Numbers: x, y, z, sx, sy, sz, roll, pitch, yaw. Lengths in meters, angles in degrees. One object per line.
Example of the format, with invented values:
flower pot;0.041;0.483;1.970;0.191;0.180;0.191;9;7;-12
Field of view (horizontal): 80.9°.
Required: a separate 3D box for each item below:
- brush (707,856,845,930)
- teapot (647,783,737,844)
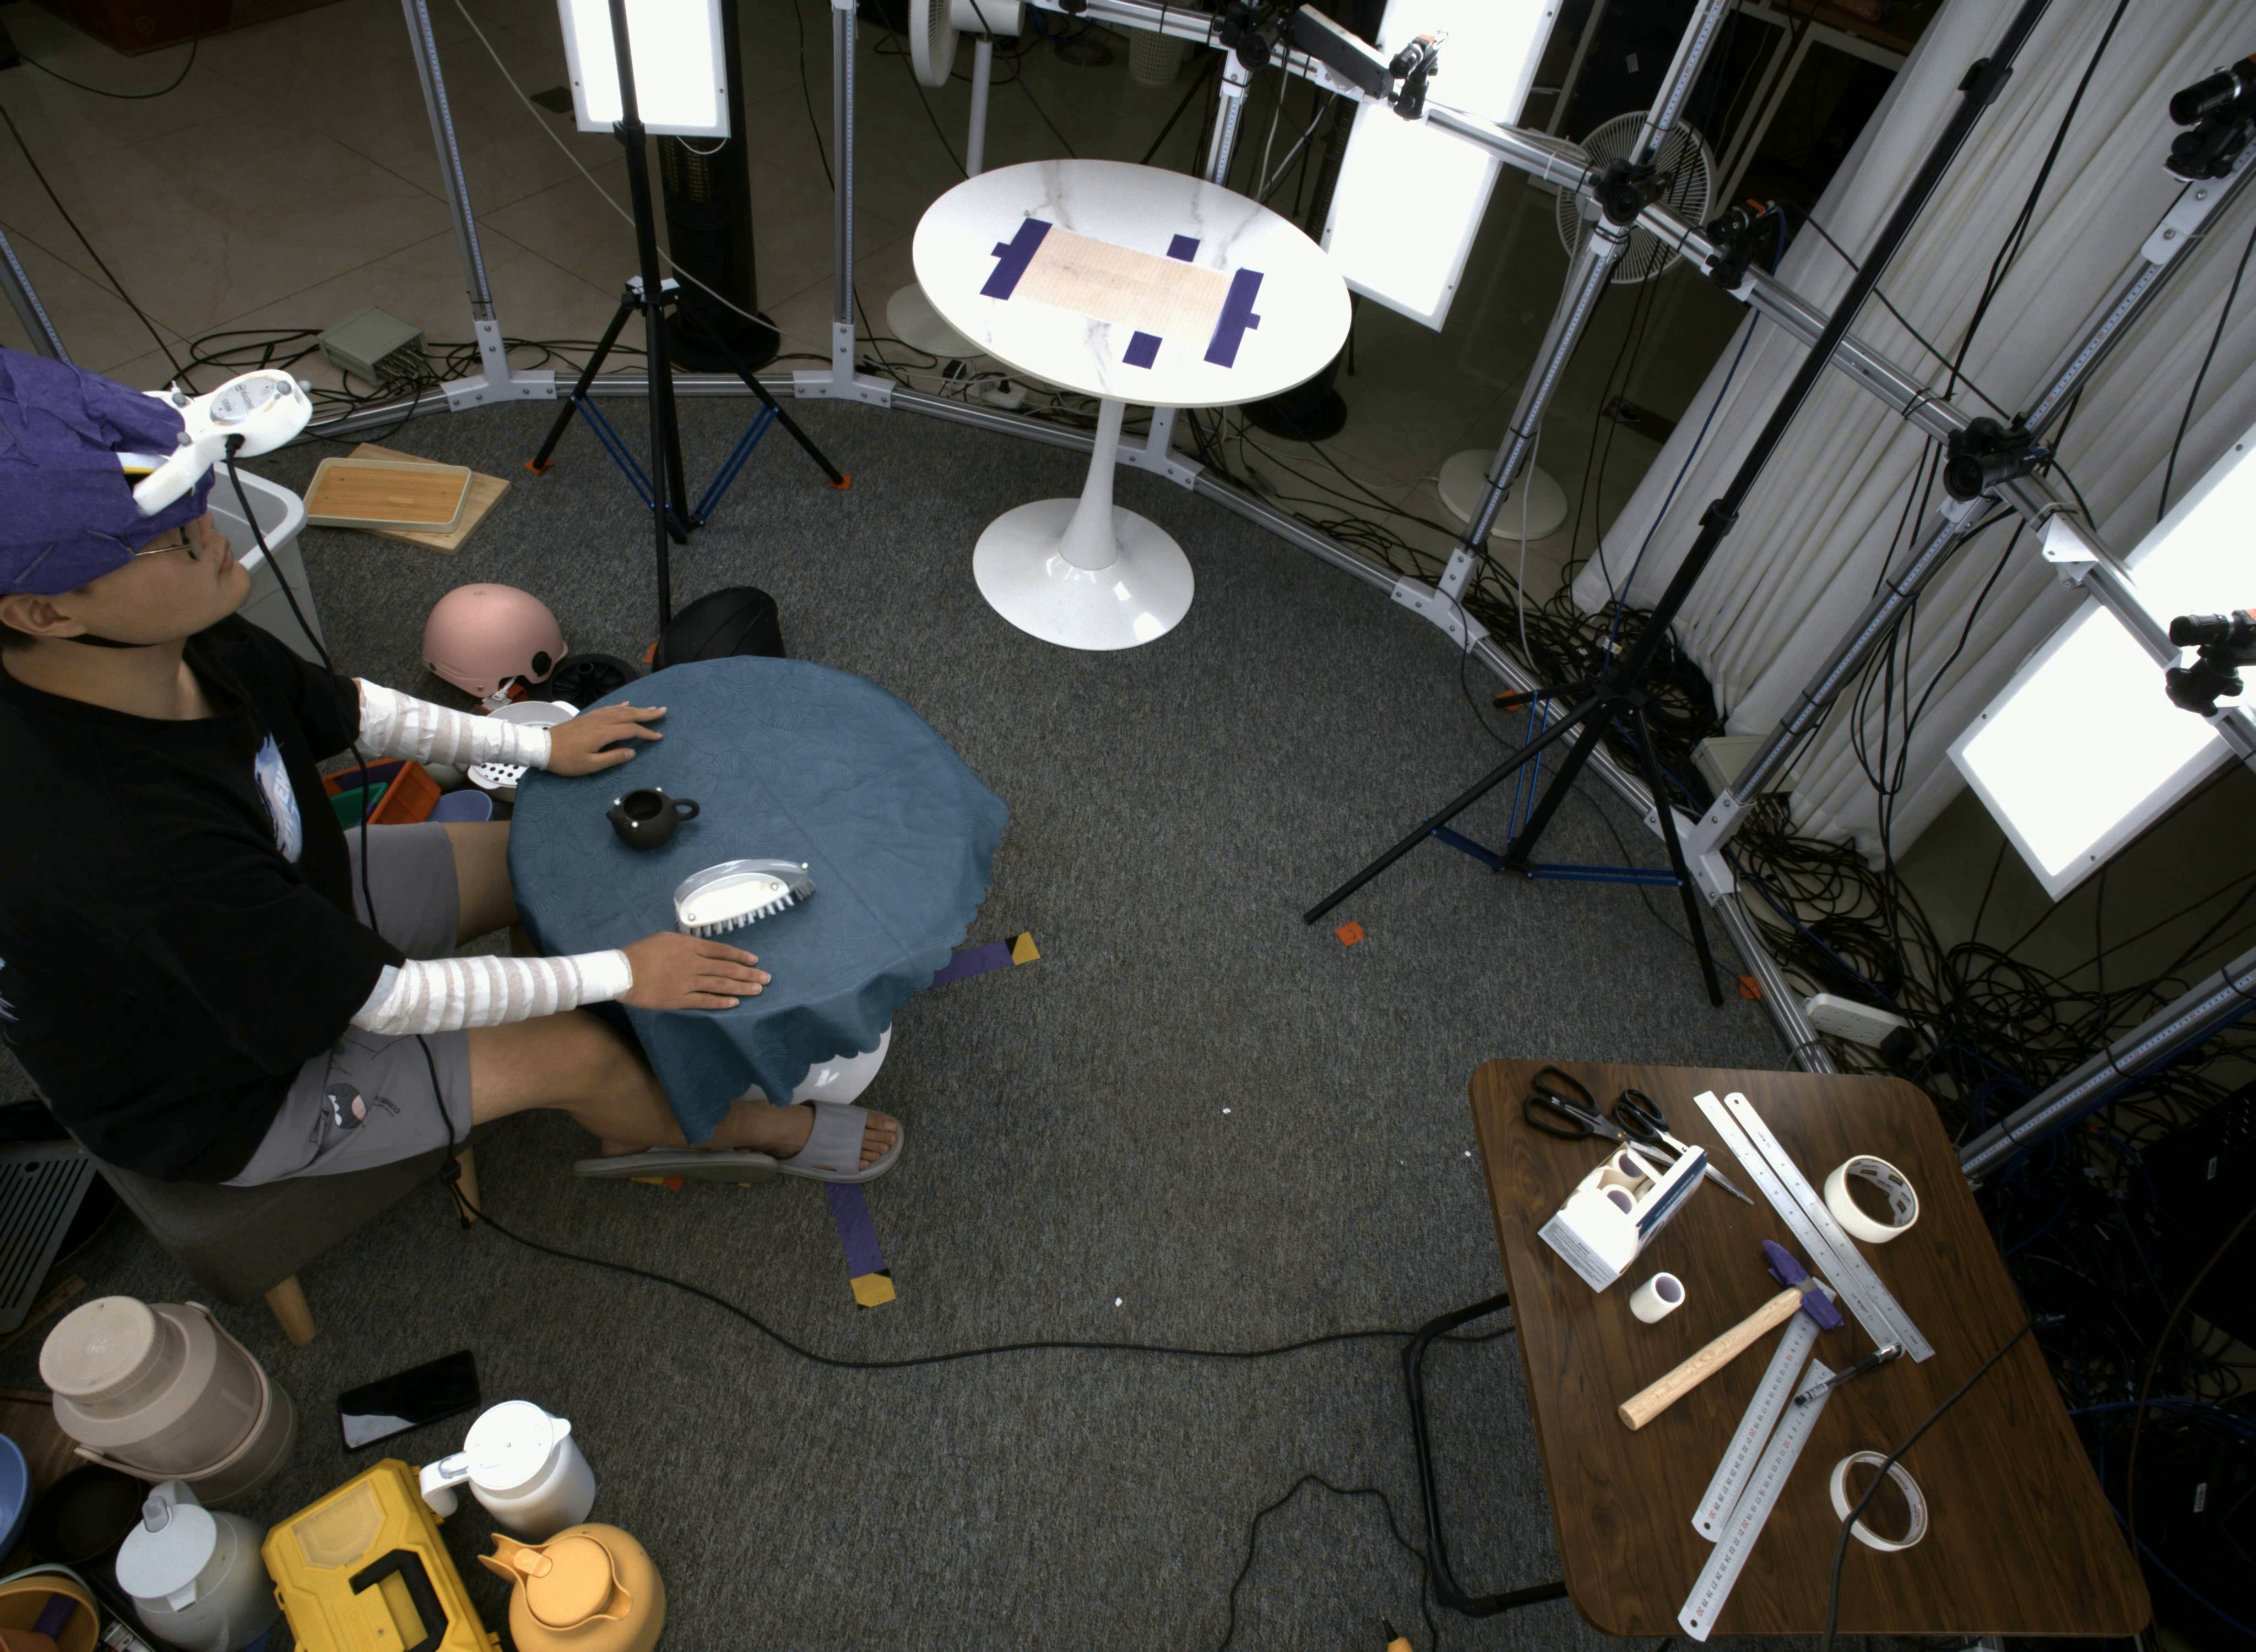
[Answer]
brush;-0.440;0.067;1.622;0.176;0.096;0.060;-13;59;-23
teapot;-0.568;-0.022;1.682;0.114;0.054;0.081;-10;56;-17
